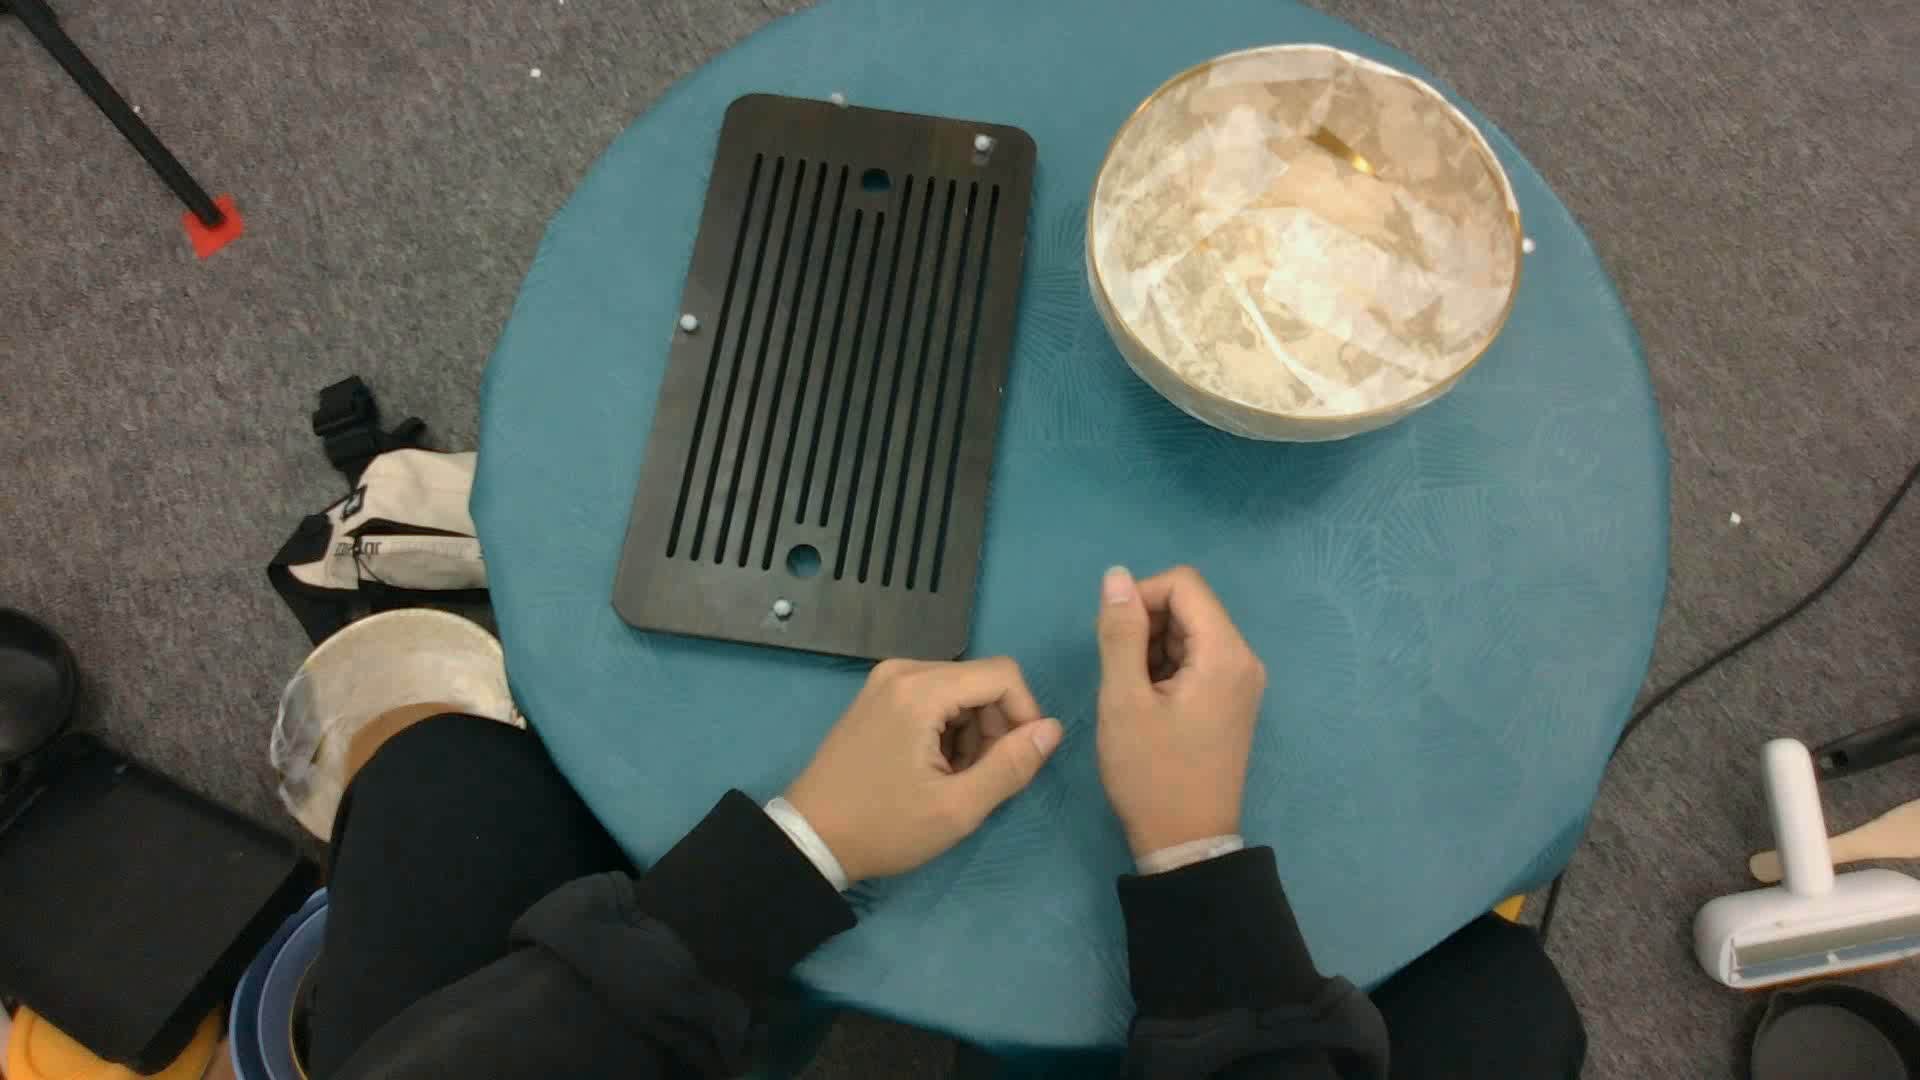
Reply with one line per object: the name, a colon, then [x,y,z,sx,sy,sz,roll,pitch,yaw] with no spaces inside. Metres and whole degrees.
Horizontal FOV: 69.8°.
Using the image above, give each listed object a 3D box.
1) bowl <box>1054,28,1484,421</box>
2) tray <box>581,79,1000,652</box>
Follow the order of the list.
bowl: [0.140,-0.140,0.682,0.215,0.094,0.215,1,70,-3]
tray: [-0.079,-0.097,0.698,0.170,0.018,0.307,7,70,1]
